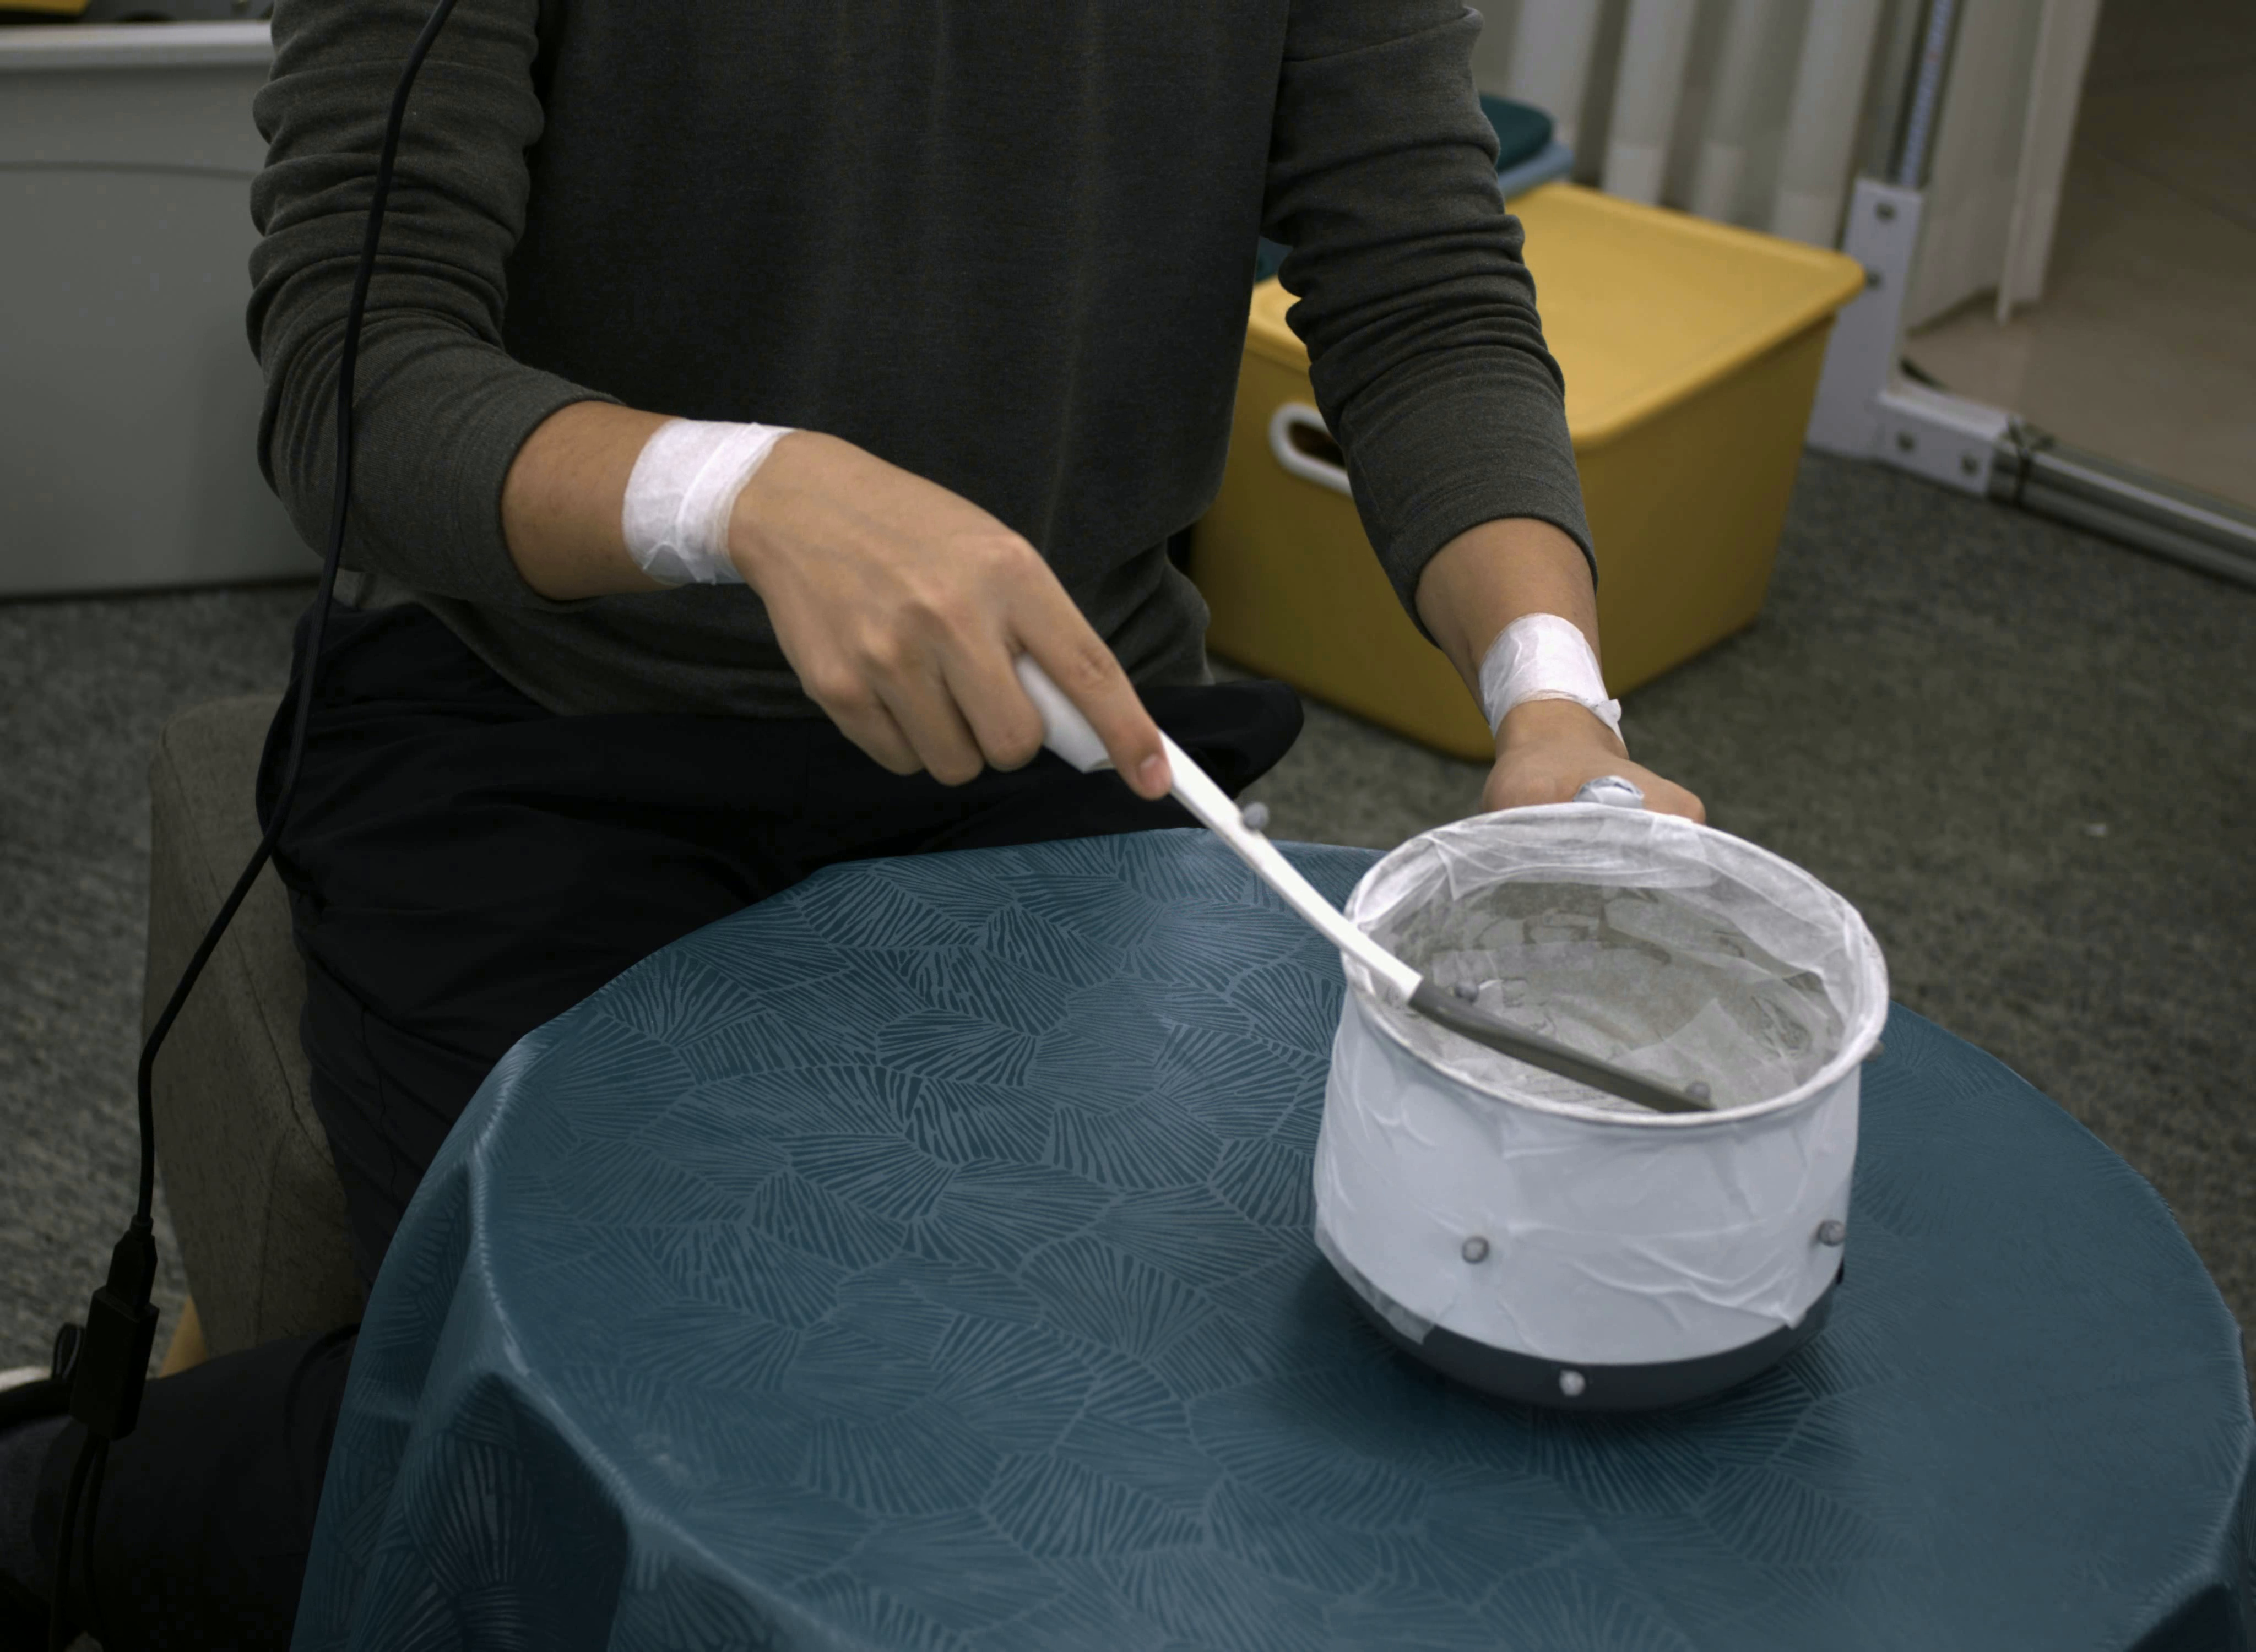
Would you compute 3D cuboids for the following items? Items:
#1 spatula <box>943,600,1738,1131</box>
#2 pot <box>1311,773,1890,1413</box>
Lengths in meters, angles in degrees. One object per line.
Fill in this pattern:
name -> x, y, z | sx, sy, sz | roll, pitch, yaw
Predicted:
spatula -> 0.066, 0.021, 1.672 | 0.288, 0.032, 0.058 | 34, -9, 7
pot -> 0.152, 0.079, 1.755 | 0.178, 0.136, 0.235 | 5, 33, 1
